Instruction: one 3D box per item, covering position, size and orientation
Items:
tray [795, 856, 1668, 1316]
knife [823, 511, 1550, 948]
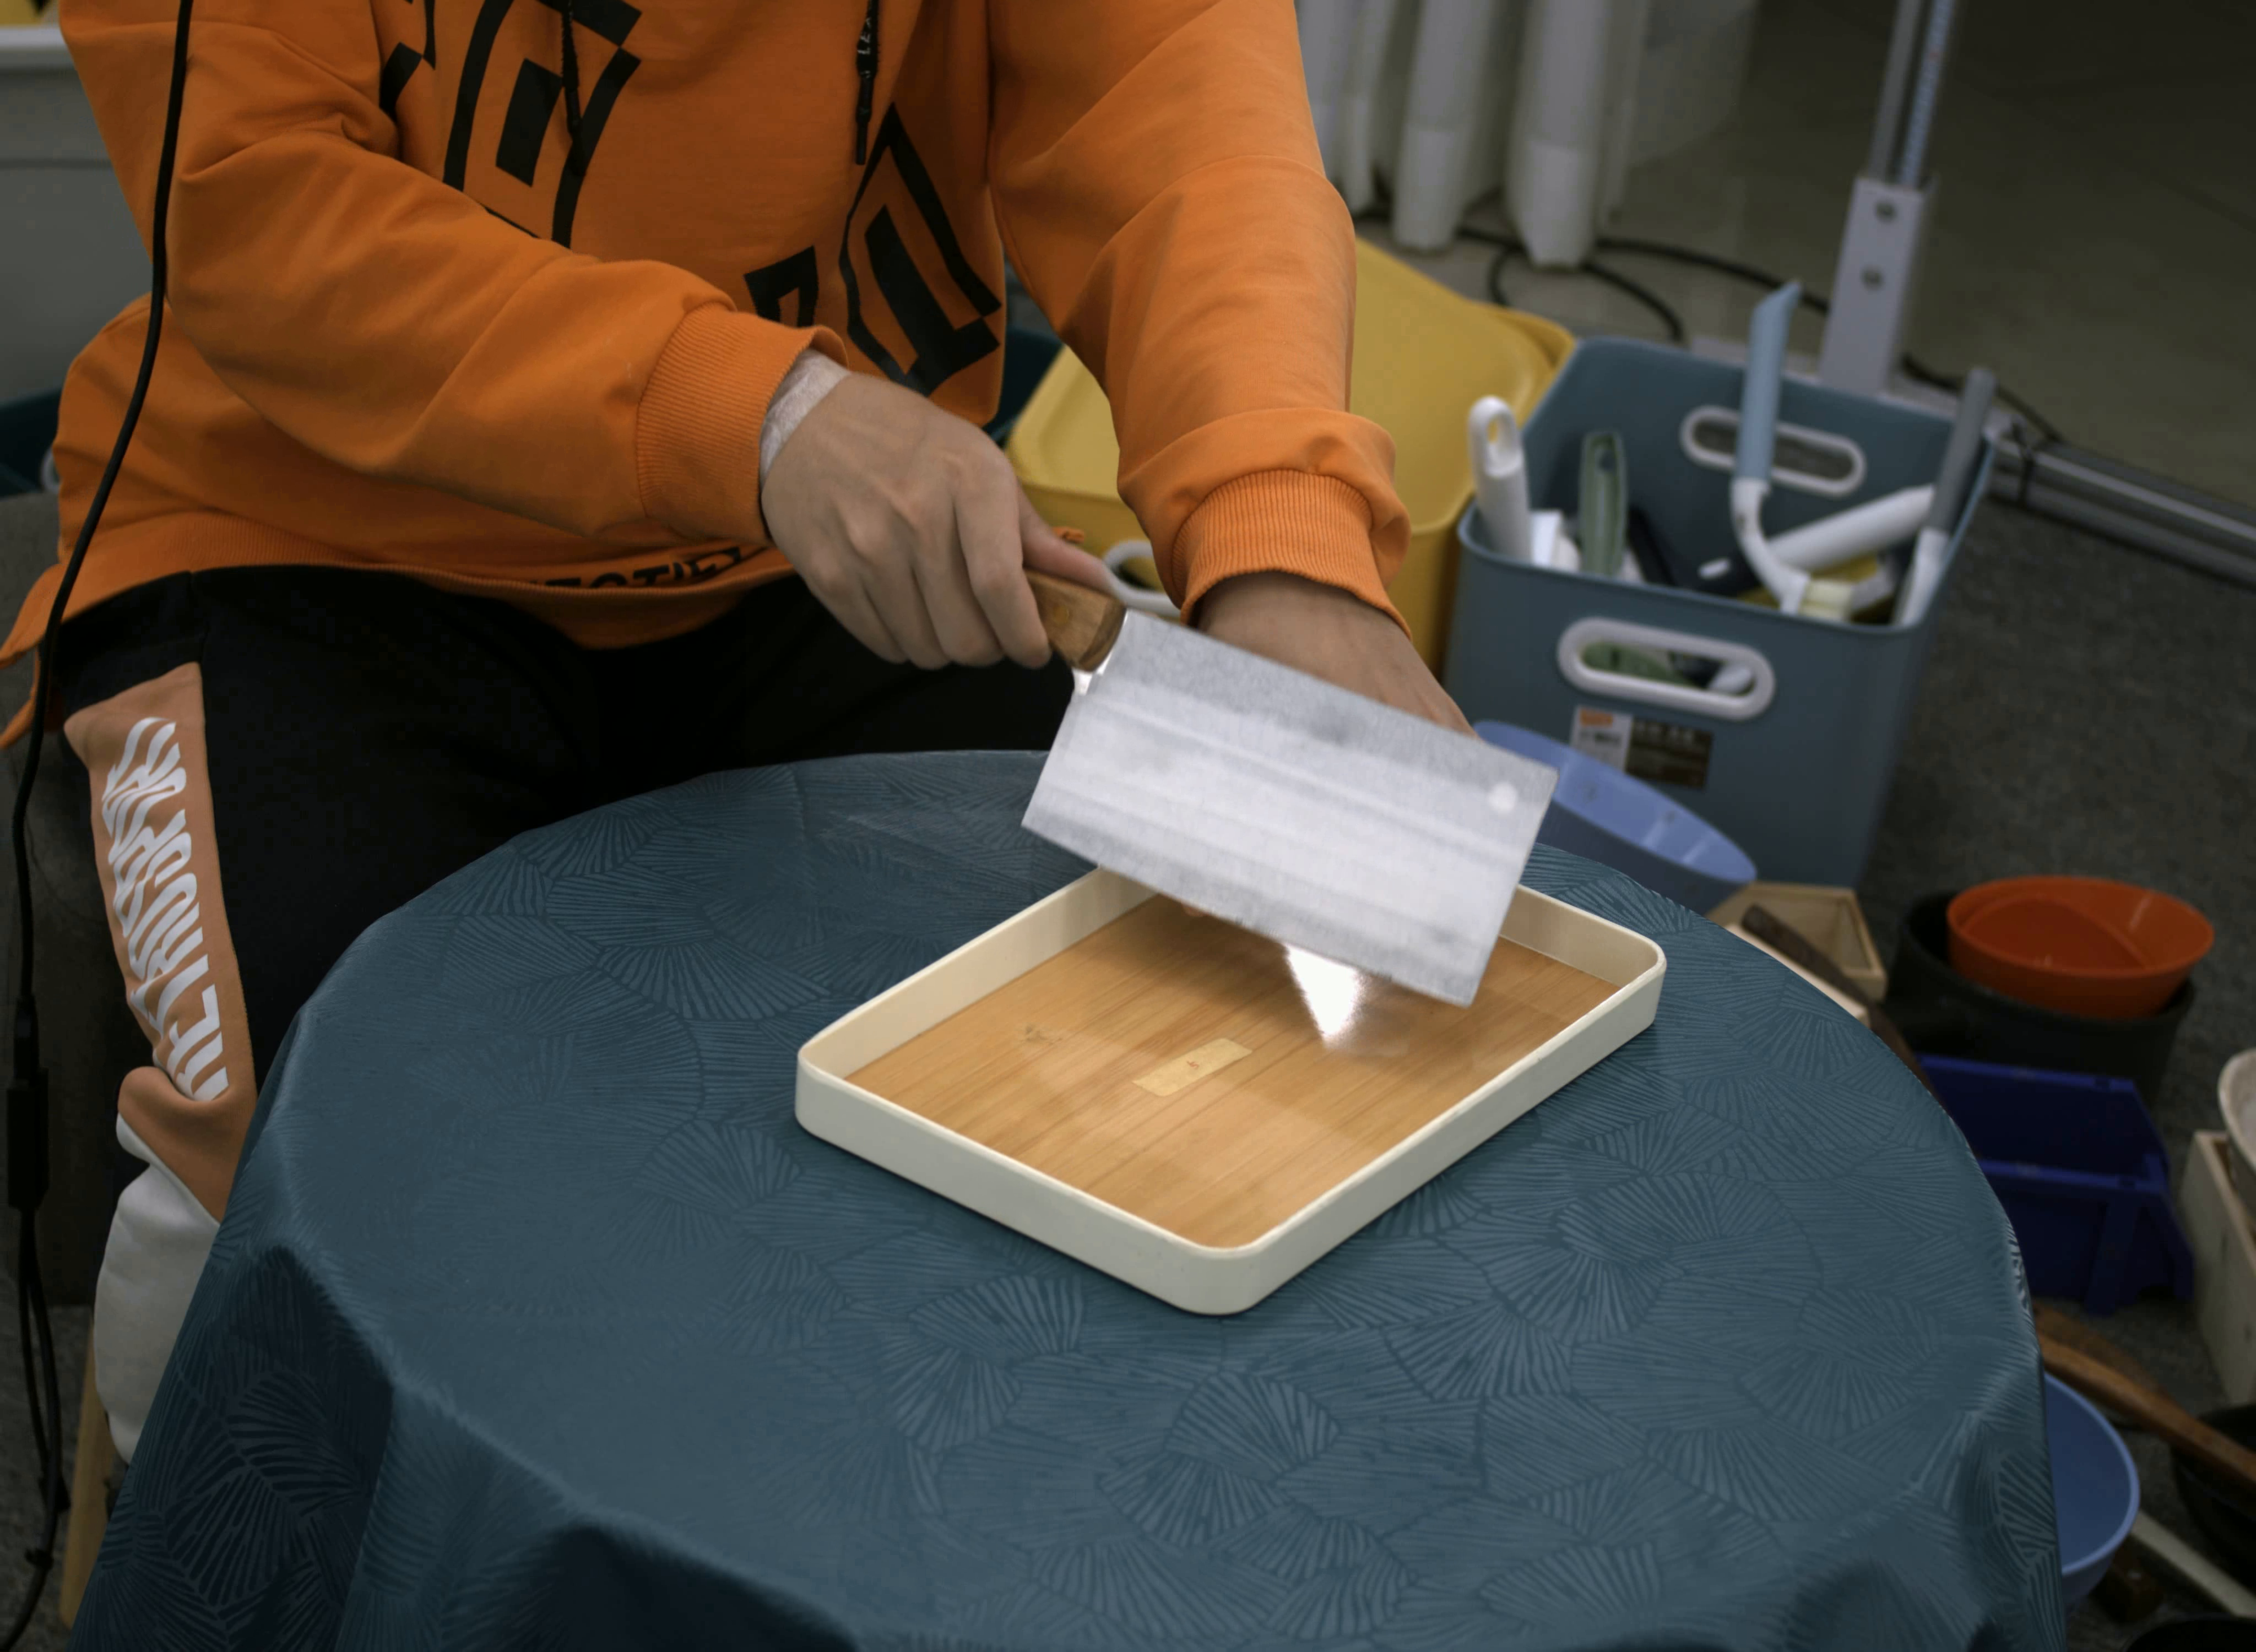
[{"bbox_3d":[0.041,0.073,1.880,0.193,0.027,0.299,23,32,29],"label":"tray"},{"bbox_3d":[0.009,-0.033,1.921,0.307,0.093,0.021,21,2,27],"label":"knife"}]
